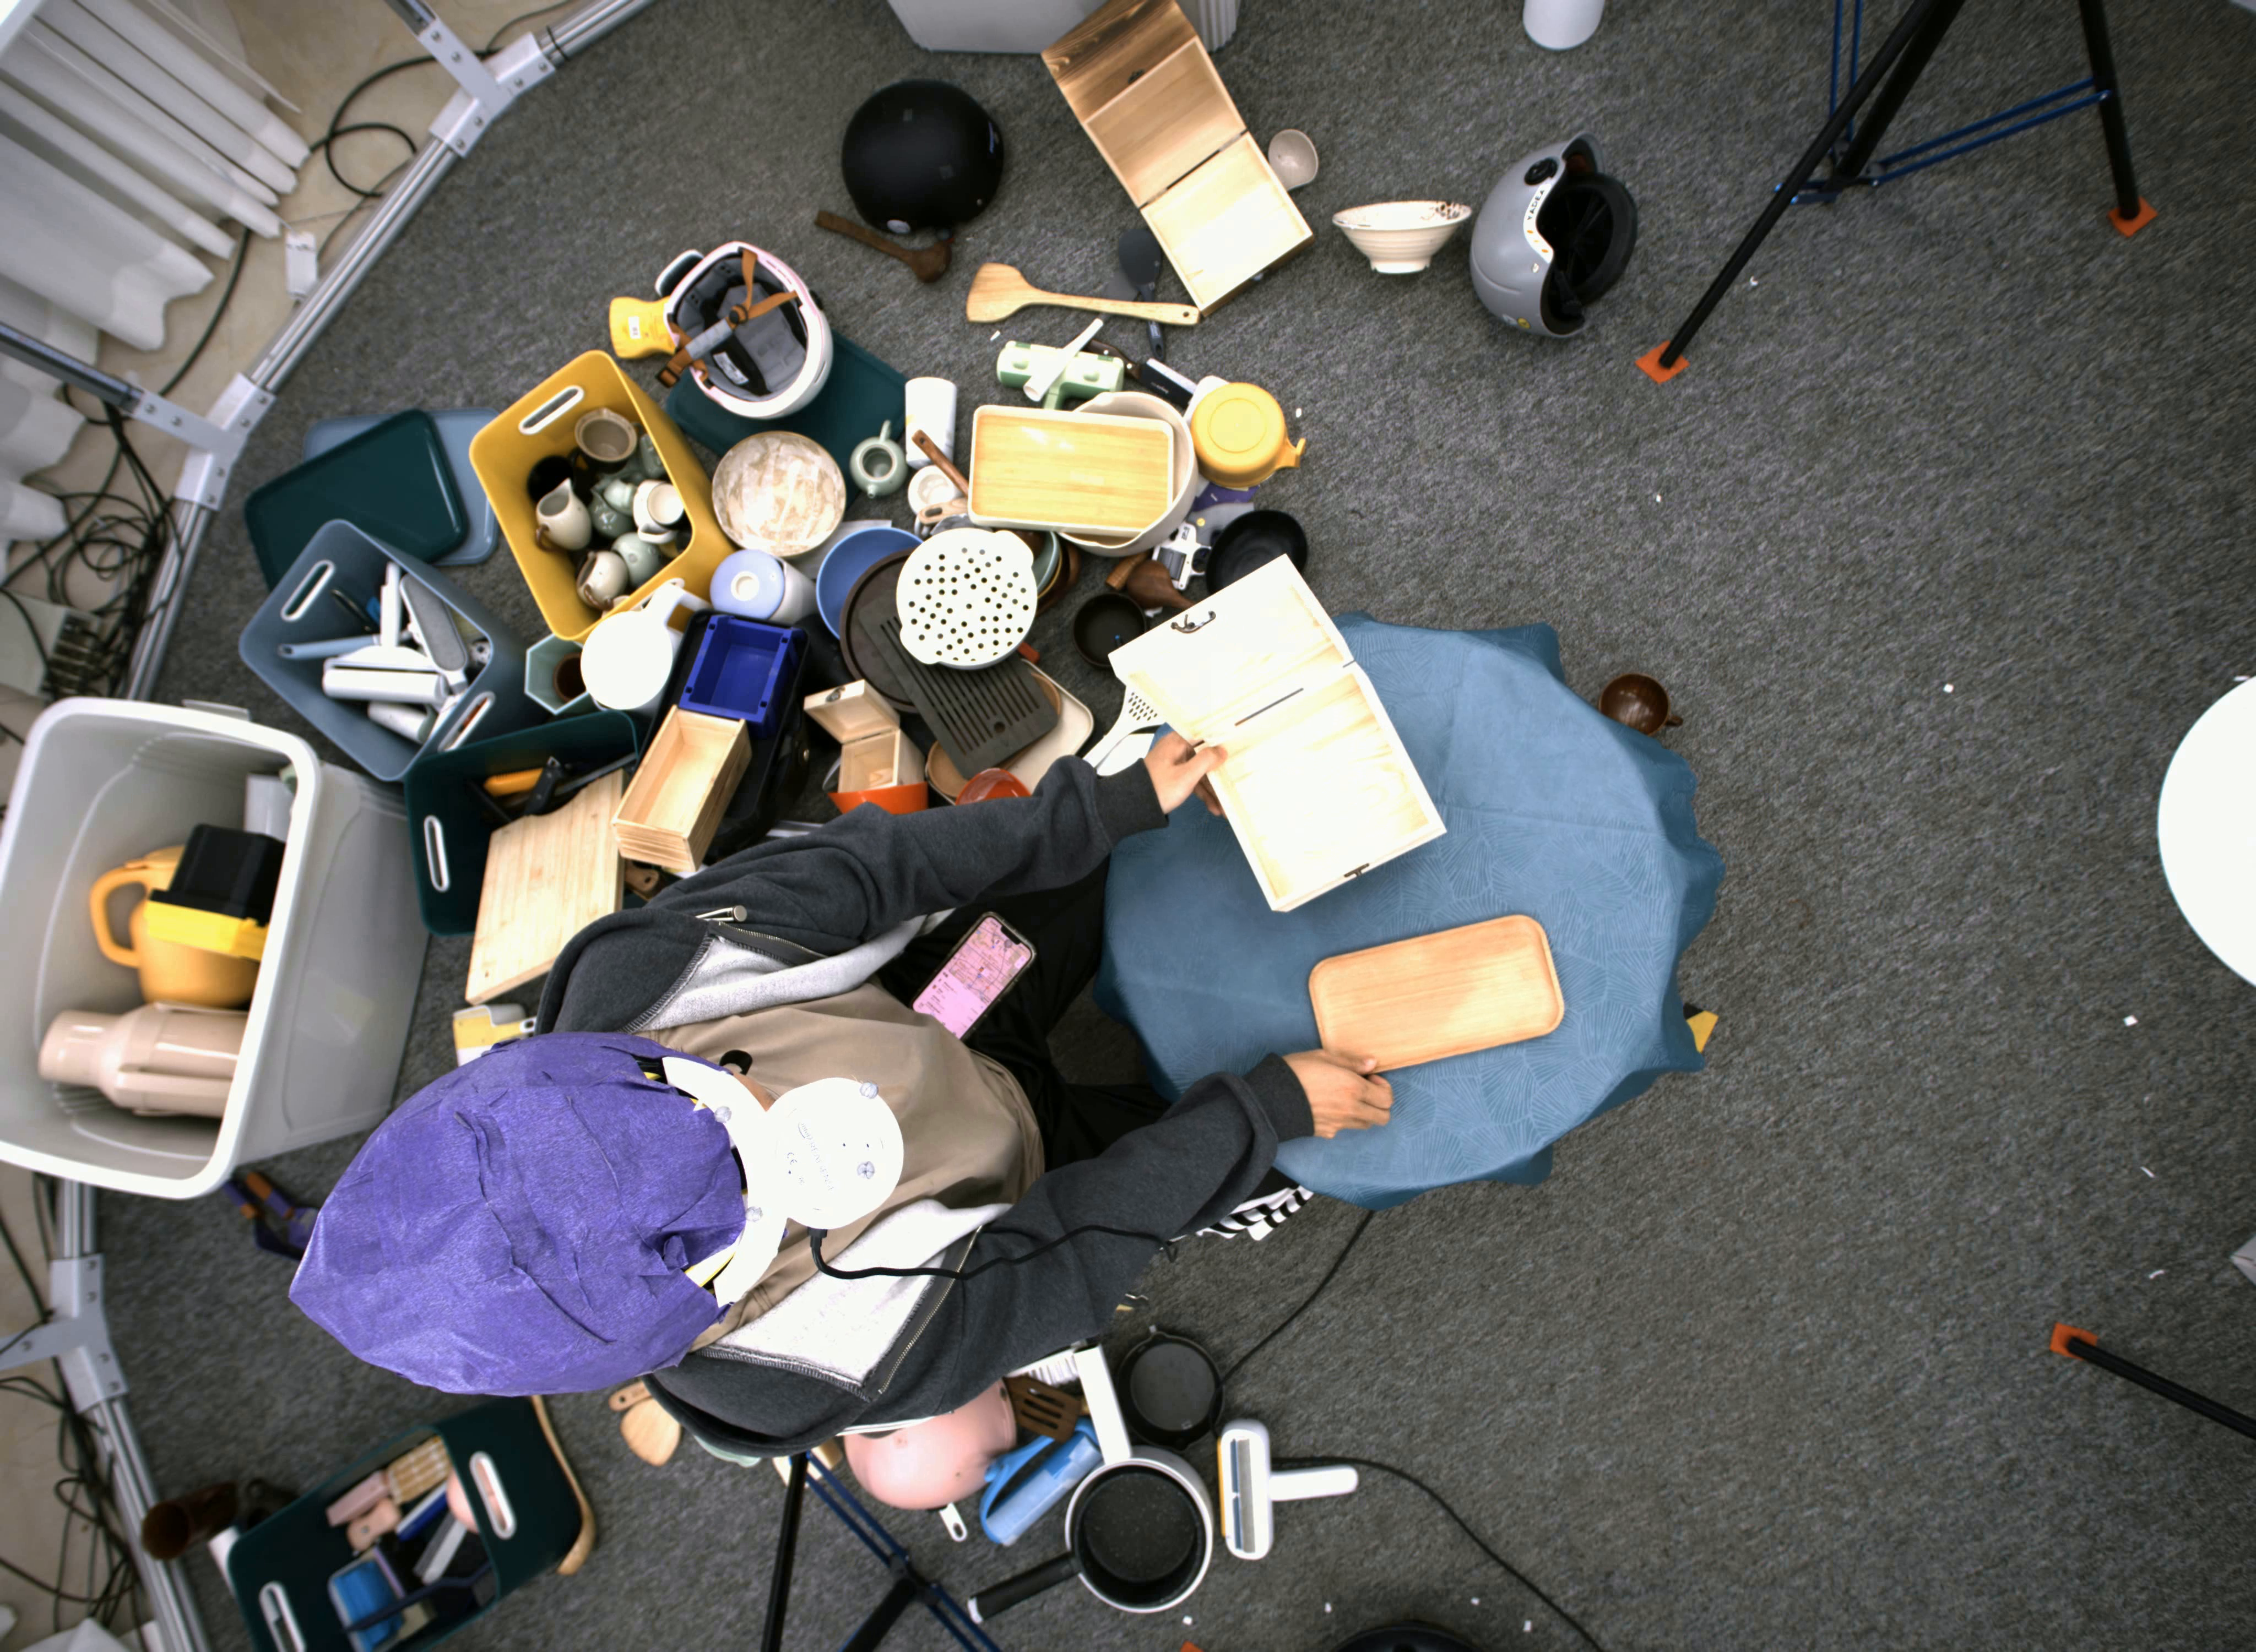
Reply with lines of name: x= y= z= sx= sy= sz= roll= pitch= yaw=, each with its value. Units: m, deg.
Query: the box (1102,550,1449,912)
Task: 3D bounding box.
box: x=0.148 y=-0.074 z=1.297 sx=0.184 sy=0.252 sz=0.263 roll=-29 pitch=77 yaw=17

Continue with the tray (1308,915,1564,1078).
tray: x=0.319 y=0.176 z=1.435 sx=0.252 sy=0.023 sz=0.129 roll=-14 pitch=81 yaw=10
